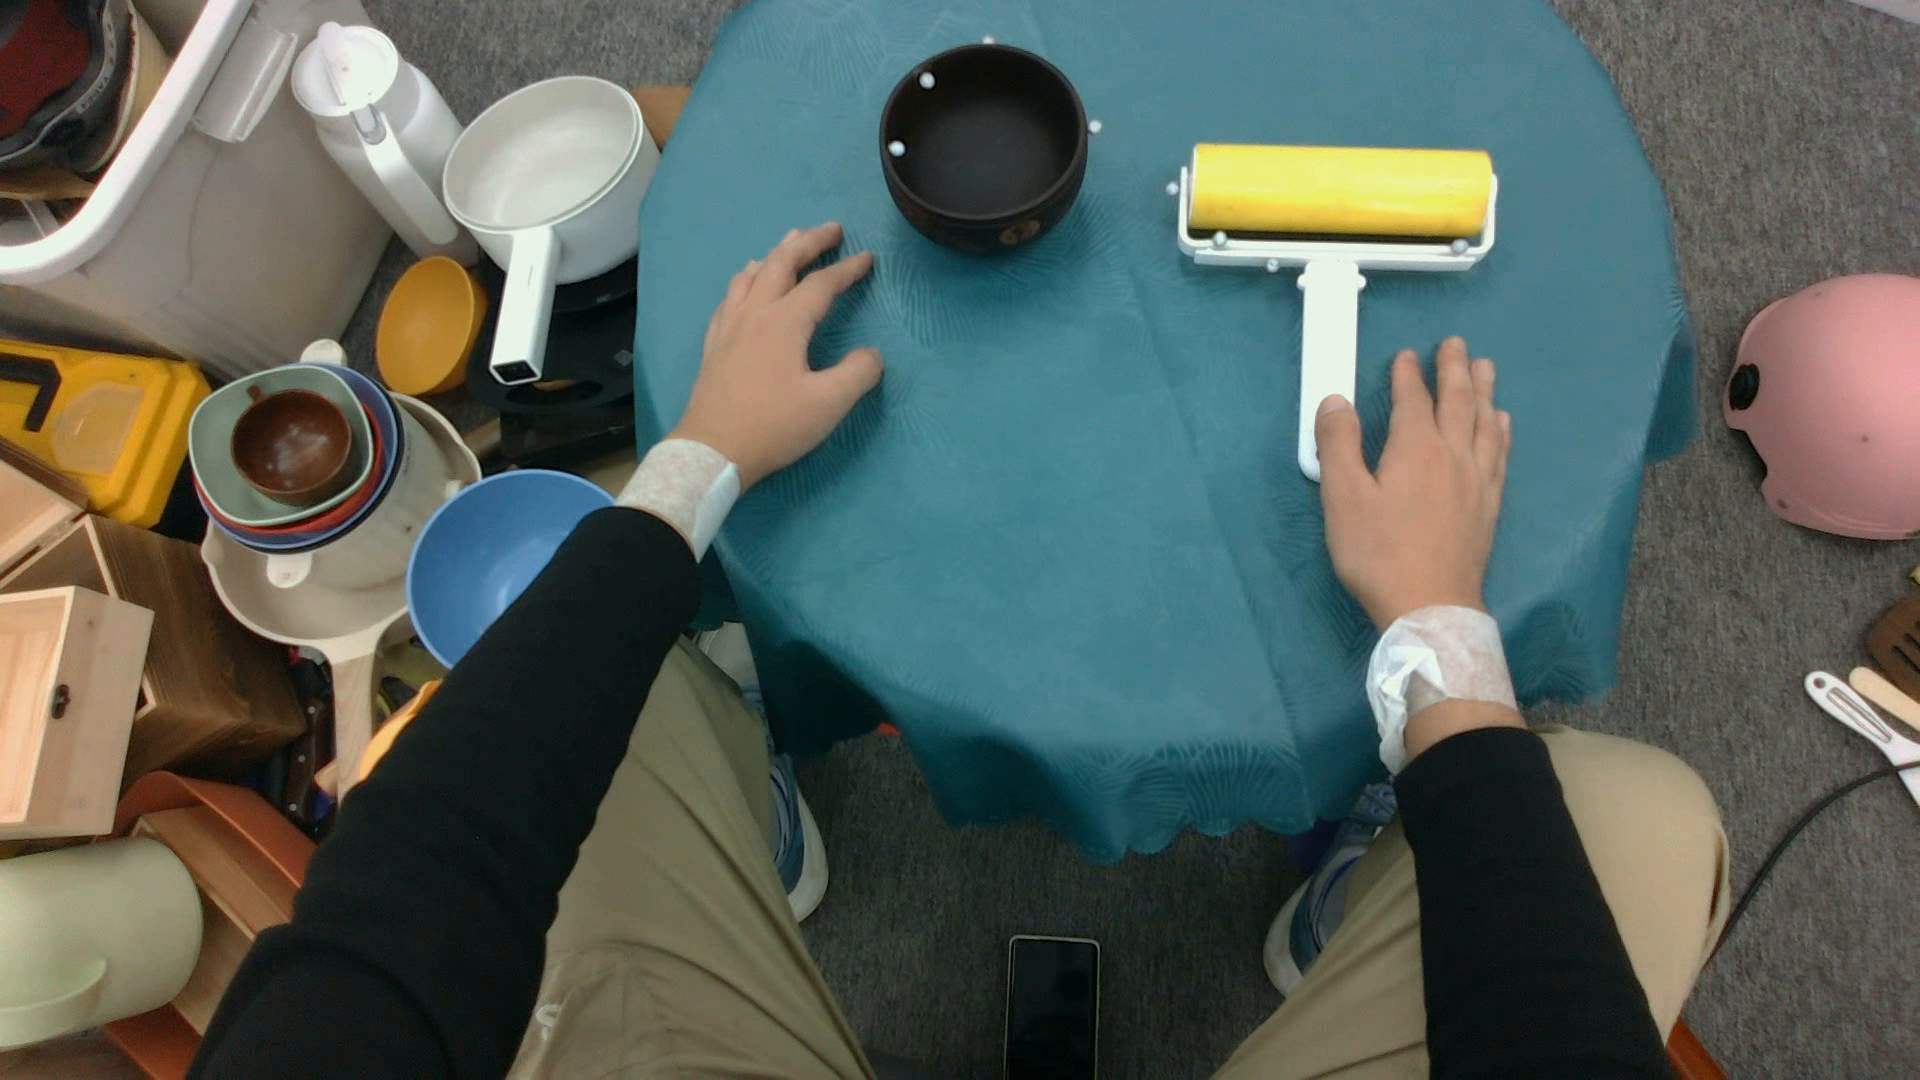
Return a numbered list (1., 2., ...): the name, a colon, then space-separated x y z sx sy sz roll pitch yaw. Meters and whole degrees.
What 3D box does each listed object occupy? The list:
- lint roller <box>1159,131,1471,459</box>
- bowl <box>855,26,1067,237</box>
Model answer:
1. lint roller: 0.198 -0.142 0.763 0.174 0.051 0.192 1 68 4
2. bowl: 0.002 -0.225 0.788 0.118 0.069 0.118 -1 71 3
